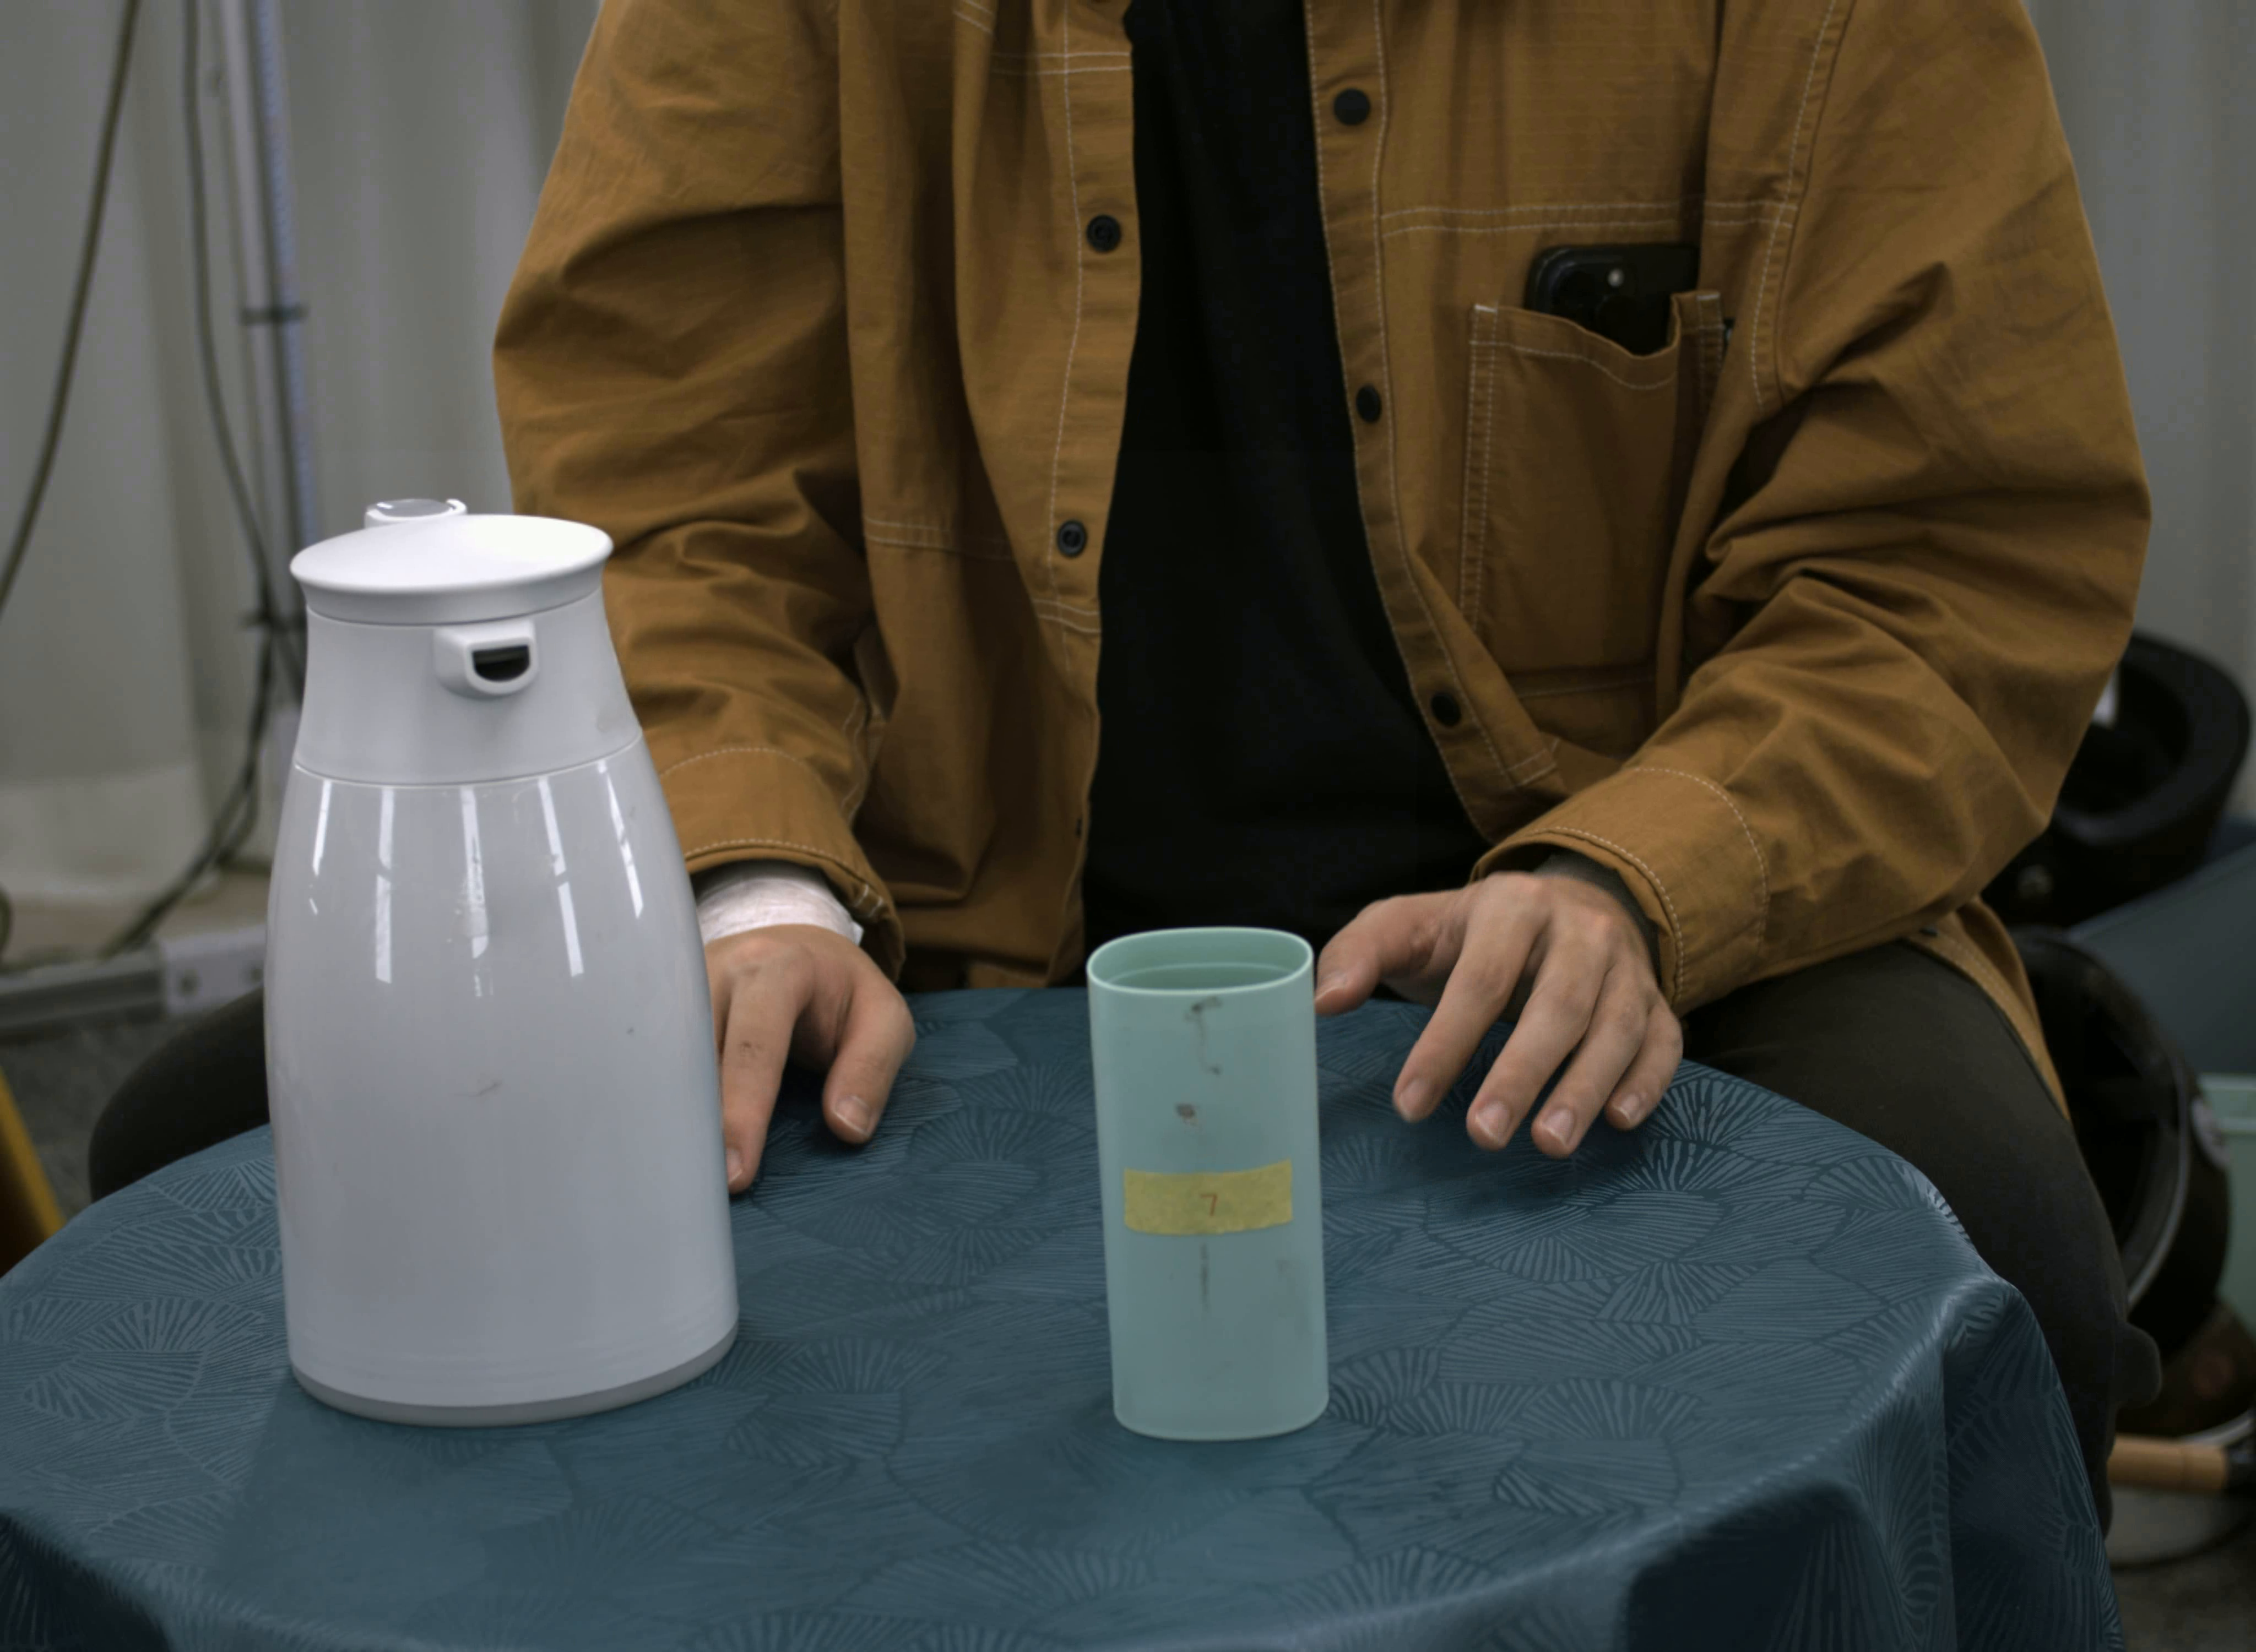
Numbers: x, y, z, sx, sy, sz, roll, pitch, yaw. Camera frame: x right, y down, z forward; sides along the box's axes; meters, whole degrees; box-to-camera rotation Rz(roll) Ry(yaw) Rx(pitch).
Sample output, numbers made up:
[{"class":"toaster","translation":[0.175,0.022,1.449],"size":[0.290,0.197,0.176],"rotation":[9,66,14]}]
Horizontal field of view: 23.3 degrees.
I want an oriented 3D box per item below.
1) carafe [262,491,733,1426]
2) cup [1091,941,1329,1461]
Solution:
[{"class":"carafe","translation":[-0.193,0.030,1.593],"size":[0.132,0.248,0.169],"rotation":[-7,14,-18]},{"class":"cup","translation":[0.024,0.103,1.516],"size":[0.066,0.132,0.067],"rotation":[-2,14,0]}]
